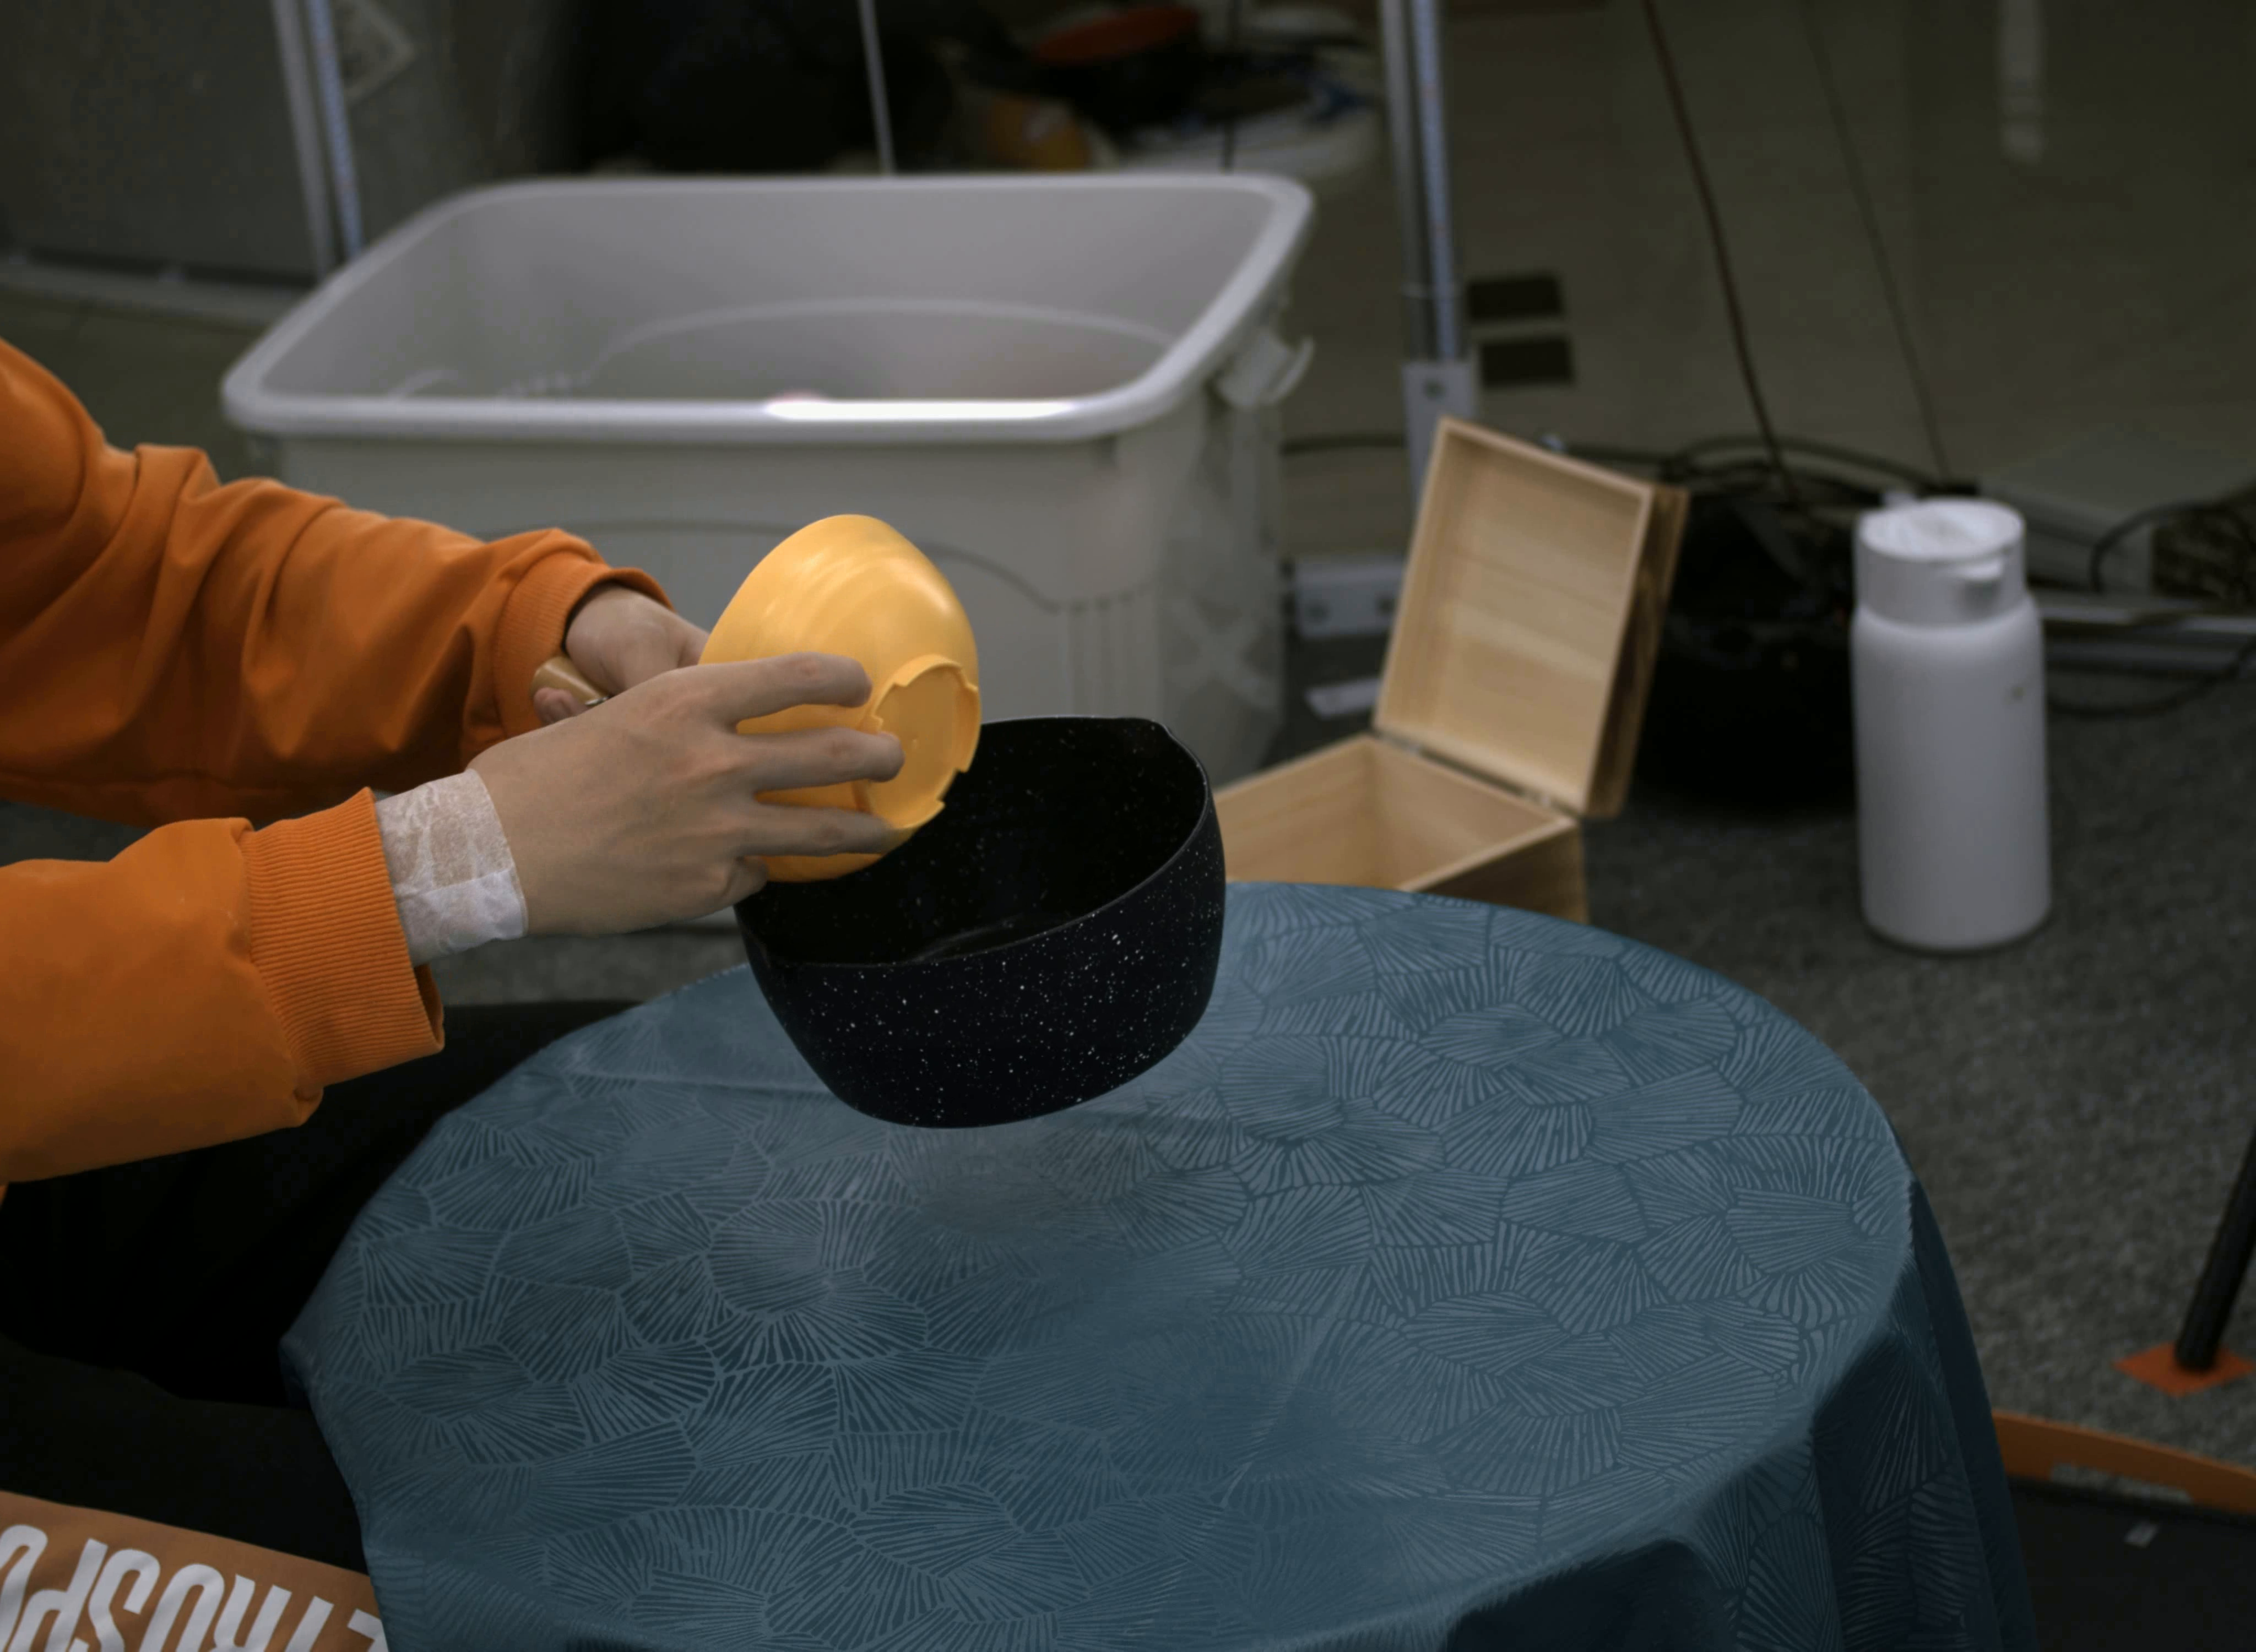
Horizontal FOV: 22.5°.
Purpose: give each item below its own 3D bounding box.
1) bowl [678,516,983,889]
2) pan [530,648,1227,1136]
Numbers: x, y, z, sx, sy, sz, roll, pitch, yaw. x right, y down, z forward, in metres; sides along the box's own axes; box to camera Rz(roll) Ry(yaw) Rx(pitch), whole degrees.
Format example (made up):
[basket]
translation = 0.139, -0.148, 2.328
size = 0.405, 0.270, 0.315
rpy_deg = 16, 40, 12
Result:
[bowl]
translation = -0.097, -0.038, 2.091
size = 0.059, 0.148, 0.144
rpy_deg = 21, 36, 32
[pan]
translation = -0.108, 0.014, 2.172
size = 0.340, 0.110, 0.205
rpy_deg = 17, 42, 42
